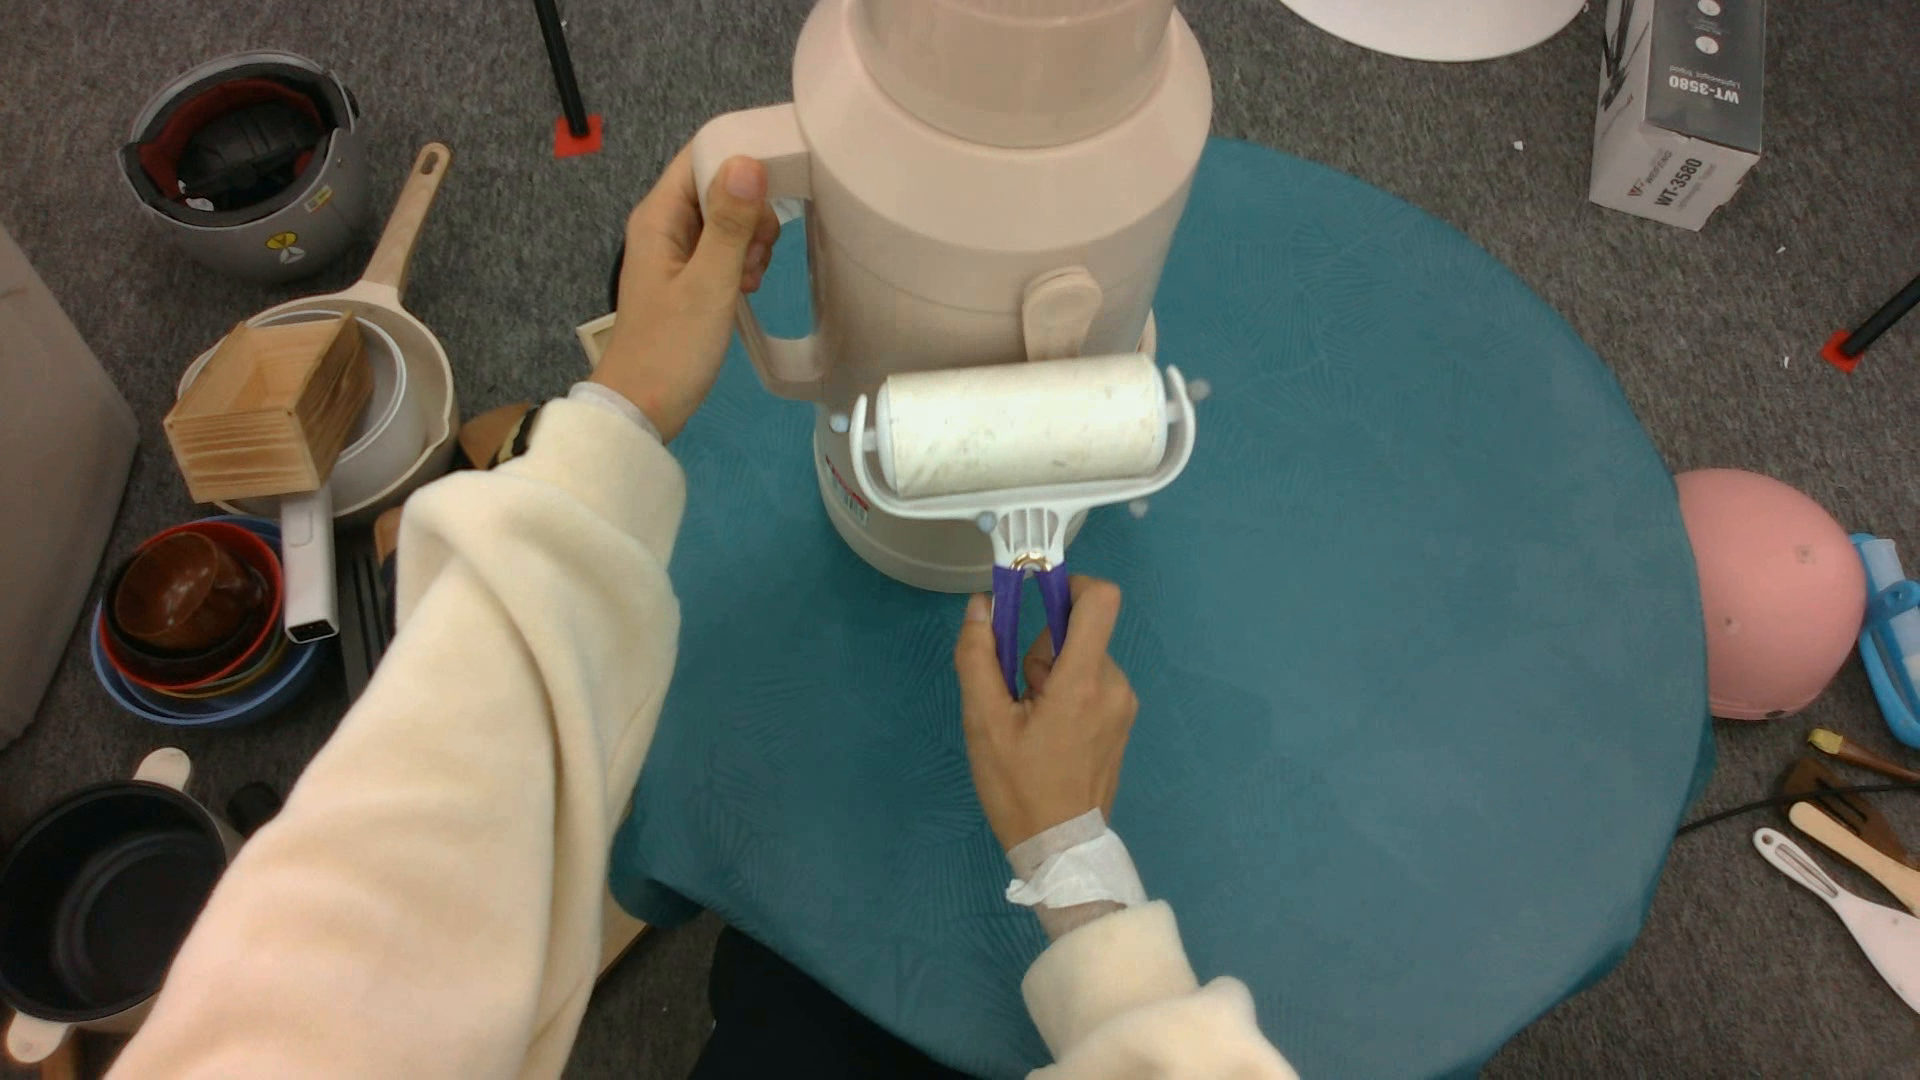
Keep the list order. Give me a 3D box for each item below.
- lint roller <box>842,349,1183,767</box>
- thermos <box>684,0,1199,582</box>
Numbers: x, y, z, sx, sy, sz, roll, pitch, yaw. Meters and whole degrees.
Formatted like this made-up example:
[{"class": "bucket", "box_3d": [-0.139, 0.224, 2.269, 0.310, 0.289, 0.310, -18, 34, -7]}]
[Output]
[{"class": "lint roller", "box_3d": [0.023, 0.016, 0.555, 0.133, 0.050, 0.180, -4, 105, -4]}, {"class": "thermos", "box_3d": [-0.007, -0.131, 0.599, 0.207, 0.404, 0.176, -14, 66, -10]}]
